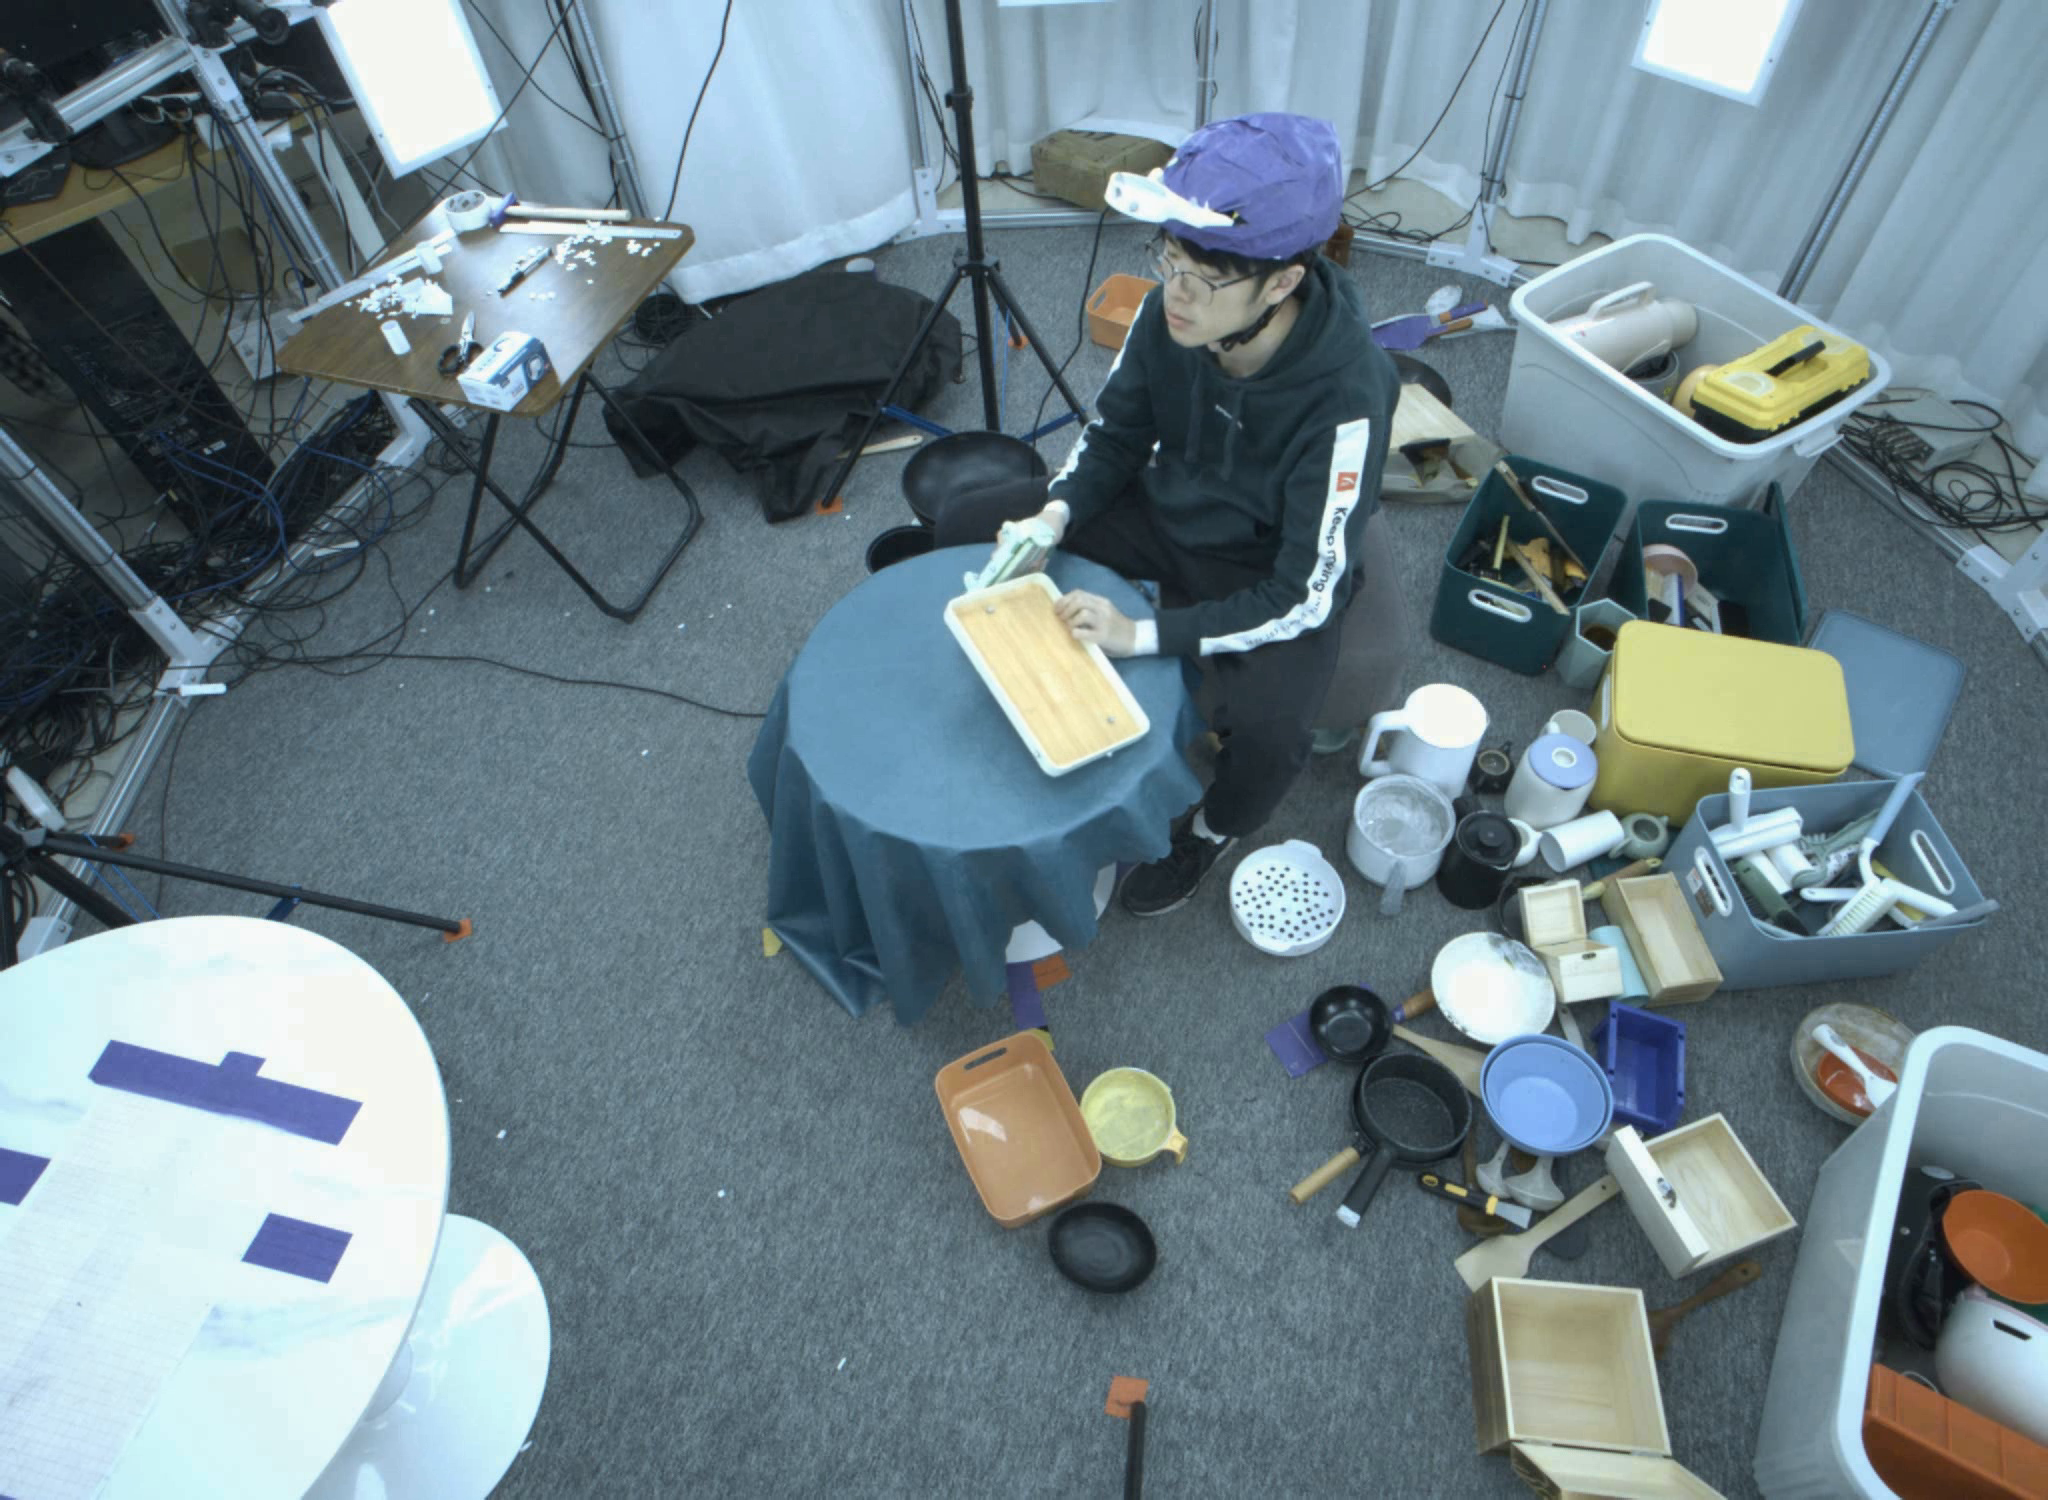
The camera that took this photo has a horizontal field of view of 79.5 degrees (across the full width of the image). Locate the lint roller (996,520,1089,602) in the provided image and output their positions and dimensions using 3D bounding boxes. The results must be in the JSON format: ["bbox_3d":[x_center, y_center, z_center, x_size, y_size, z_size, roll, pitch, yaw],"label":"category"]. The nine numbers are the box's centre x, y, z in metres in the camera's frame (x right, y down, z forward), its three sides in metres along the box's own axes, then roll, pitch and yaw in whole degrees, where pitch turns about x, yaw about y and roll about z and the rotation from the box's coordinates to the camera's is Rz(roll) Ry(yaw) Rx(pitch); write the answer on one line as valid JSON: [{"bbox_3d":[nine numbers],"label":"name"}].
[{"bbox_3d":[0.037,-0.297,1.877,0.082,0.197,0.184,39,41,-4],"label":"lint roller"}]

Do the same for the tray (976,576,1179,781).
[{"bbox_3d":[0.076,-0.108,1.758,0.194,0.027,0.297,-22,73,-34],"label":"tray"}]
